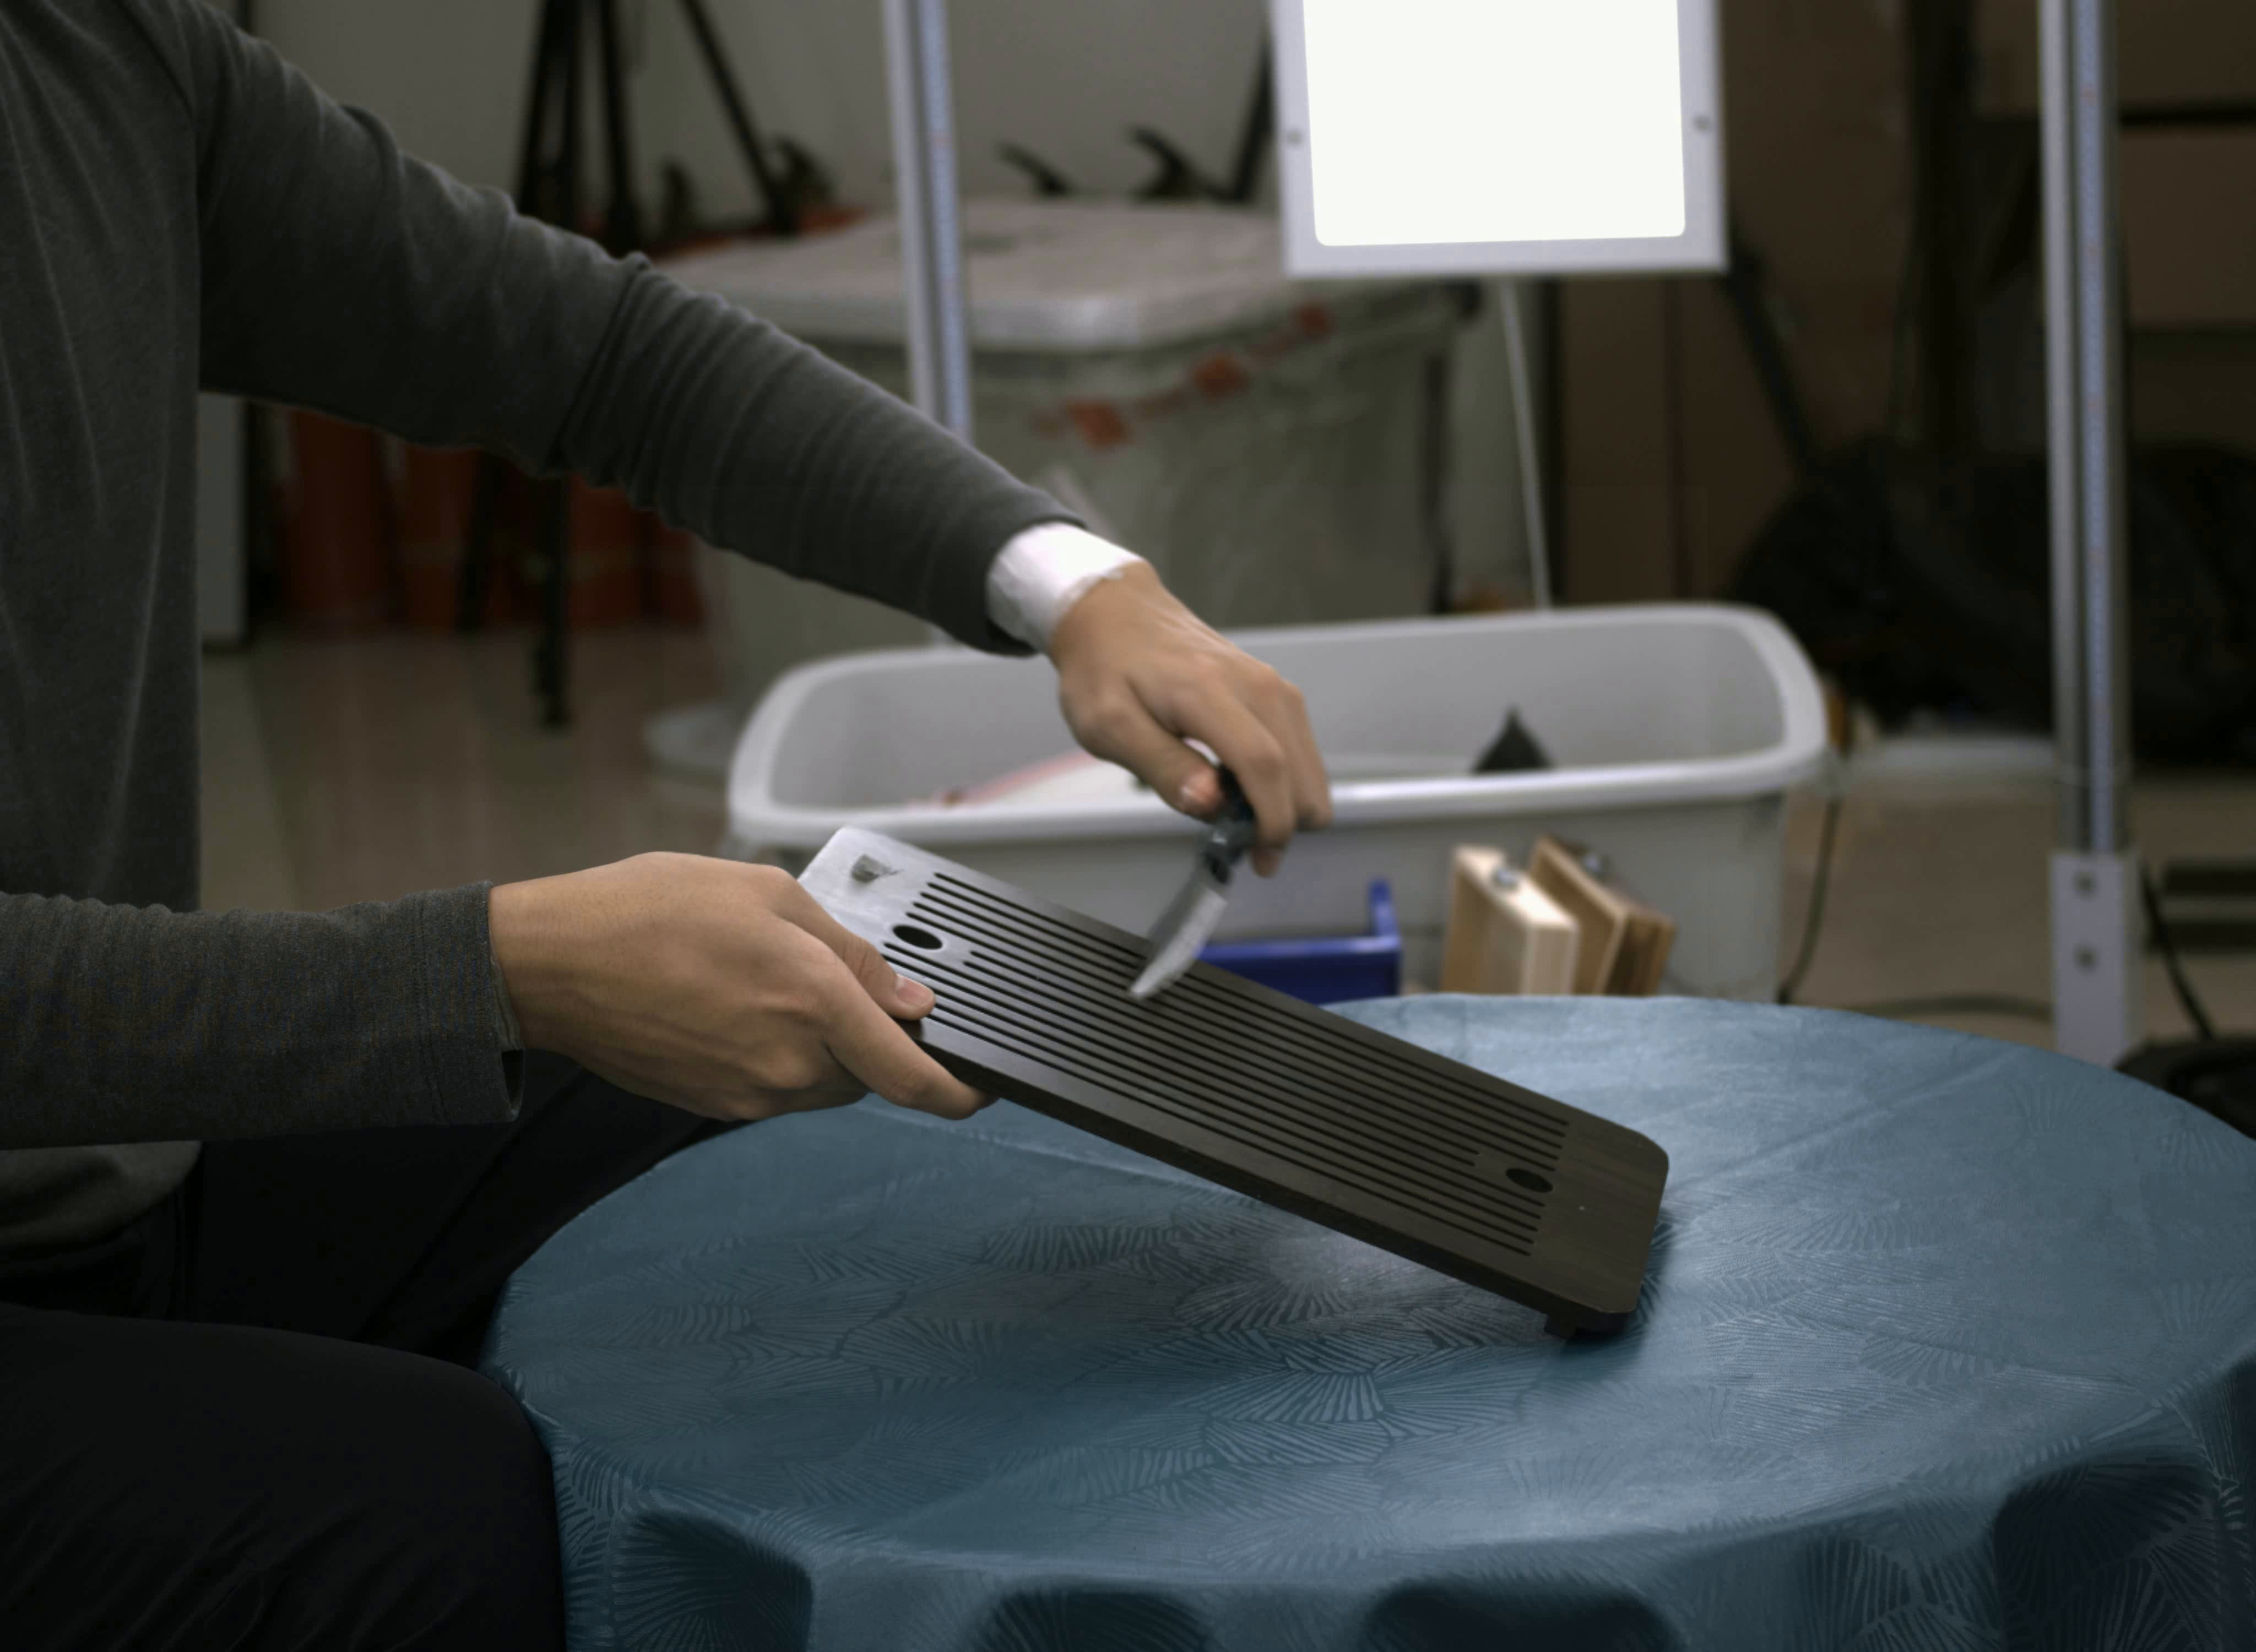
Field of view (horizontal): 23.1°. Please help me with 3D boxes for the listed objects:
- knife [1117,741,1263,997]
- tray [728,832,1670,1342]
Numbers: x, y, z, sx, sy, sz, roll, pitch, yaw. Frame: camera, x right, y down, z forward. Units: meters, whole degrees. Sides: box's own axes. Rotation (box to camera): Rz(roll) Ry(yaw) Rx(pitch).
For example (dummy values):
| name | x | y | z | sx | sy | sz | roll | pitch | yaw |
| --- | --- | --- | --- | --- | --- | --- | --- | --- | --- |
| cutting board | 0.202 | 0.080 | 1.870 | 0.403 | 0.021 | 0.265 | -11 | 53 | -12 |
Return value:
| name | x | y | z | sx | sy | sz | roll | pitch | yaw |
| --- | --- | --- | --- | --- | --- | --- | --- | --- | --- |
| knife | 0.019 | 0.015 | 1.926 | 0.024 | 0.016 | 0.235 | 37 | 23 | -3 |
| tray | 0.027 | 0.083 | 1.792 | 0.306 | 0.019 | 0.168 | 21 | 19 | 5 |
